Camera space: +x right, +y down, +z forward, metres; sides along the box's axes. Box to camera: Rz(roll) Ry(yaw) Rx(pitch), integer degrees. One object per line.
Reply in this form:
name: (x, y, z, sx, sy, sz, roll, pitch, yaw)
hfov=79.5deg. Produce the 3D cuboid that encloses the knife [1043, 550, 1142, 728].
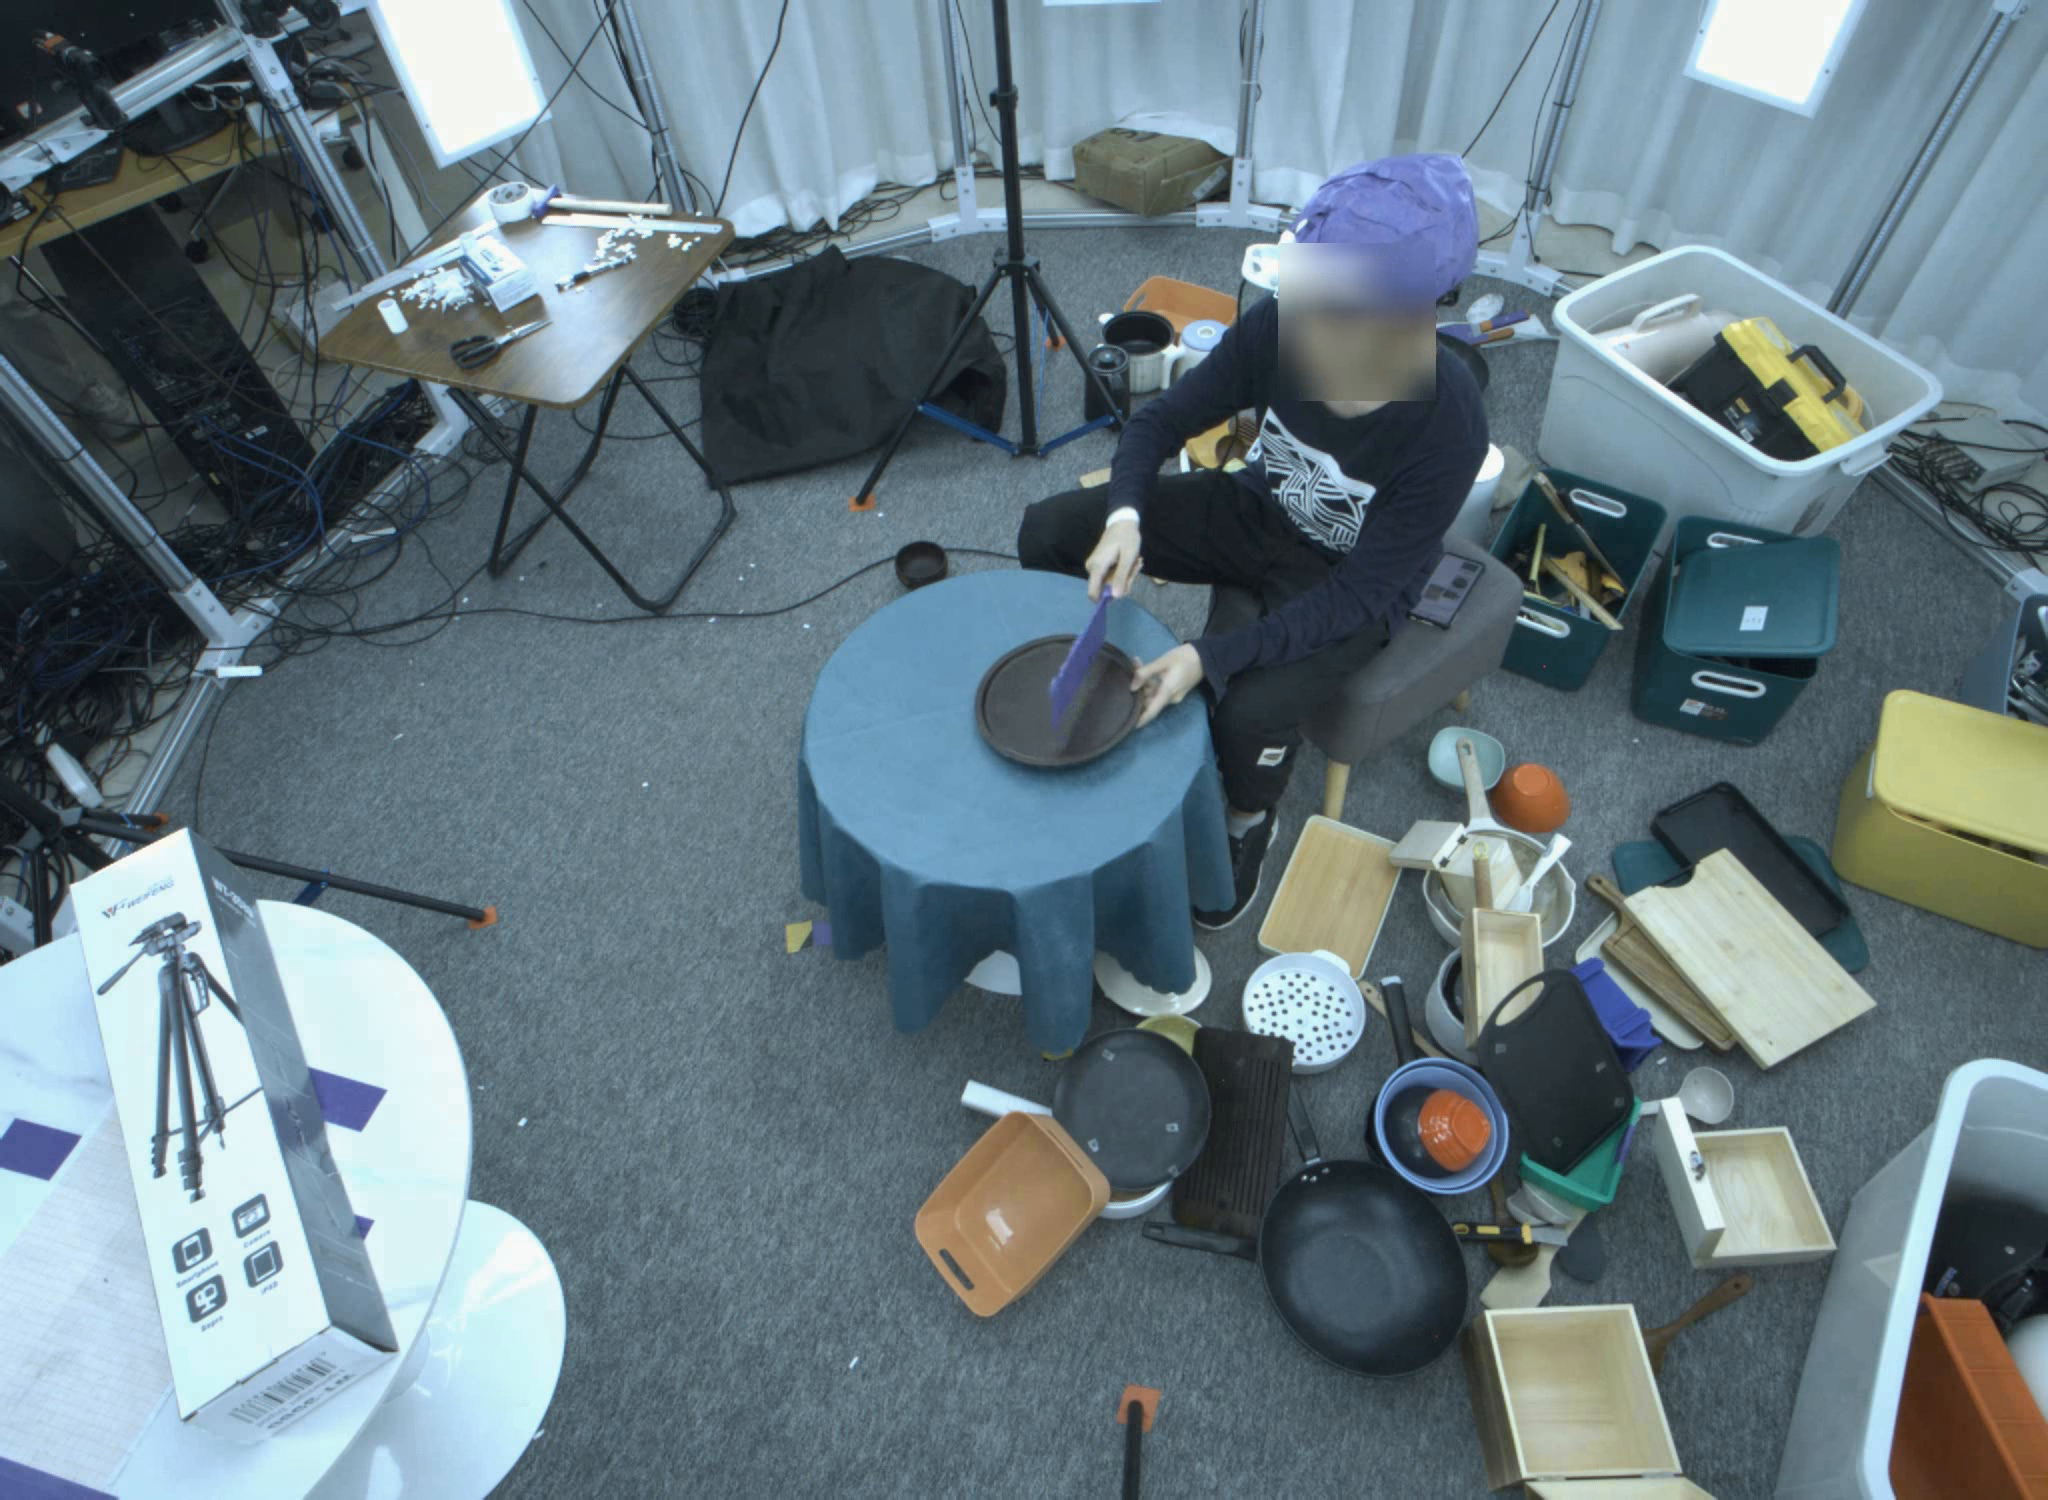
knife: (0.097, -0.164, 1.787, 0.032, 0.105, 0.316, 20, 54, 17)

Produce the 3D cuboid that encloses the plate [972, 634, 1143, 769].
plate: (0.050, -0.073, 1.819, 0.254, 0.029, 0.252, -3, 54, 6)
